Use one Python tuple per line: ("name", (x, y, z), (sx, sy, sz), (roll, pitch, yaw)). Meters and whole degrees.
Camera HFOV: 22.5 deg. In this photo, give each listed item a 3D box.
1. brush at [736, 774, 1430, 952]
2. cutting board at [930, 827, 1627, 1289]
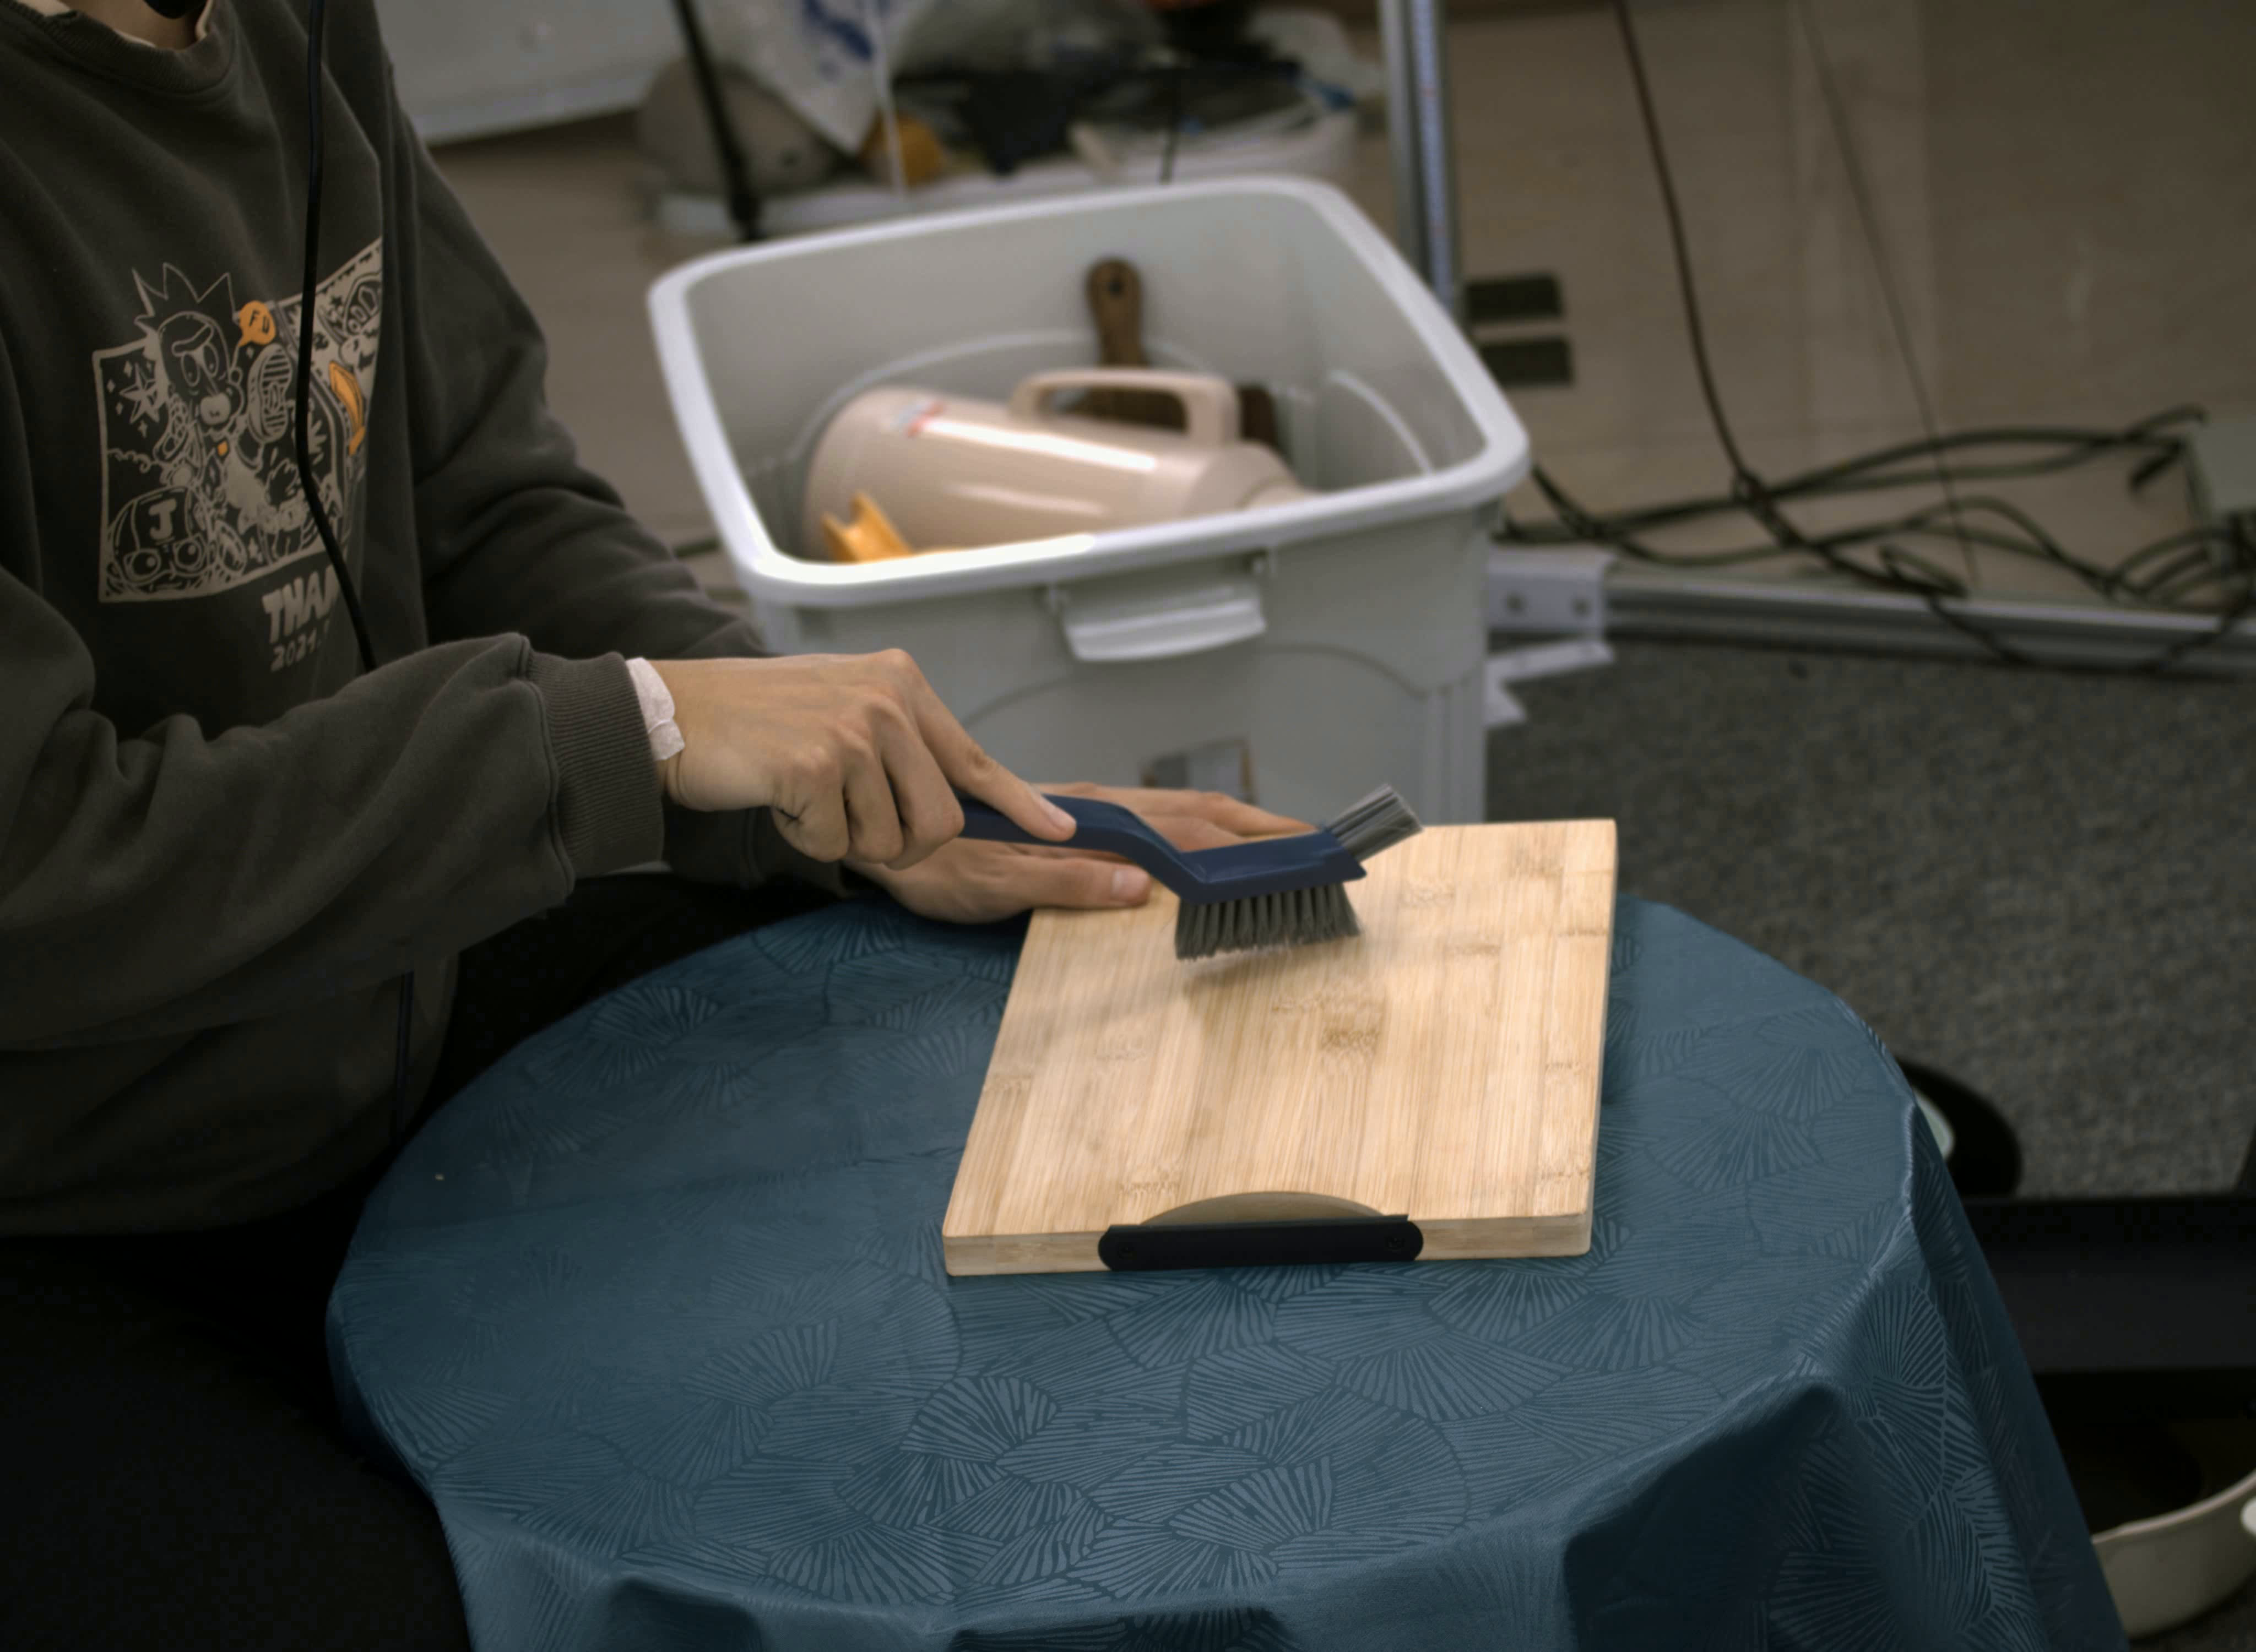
("brush", (-0.018, -0.005, 2.214), (0.274, 0.097, 0.033), (14, 30, -29))
("cutting board", (0.067, 0.086, 2.226), (0.250, 0.024, 0.343), (-4, 25, 8))
